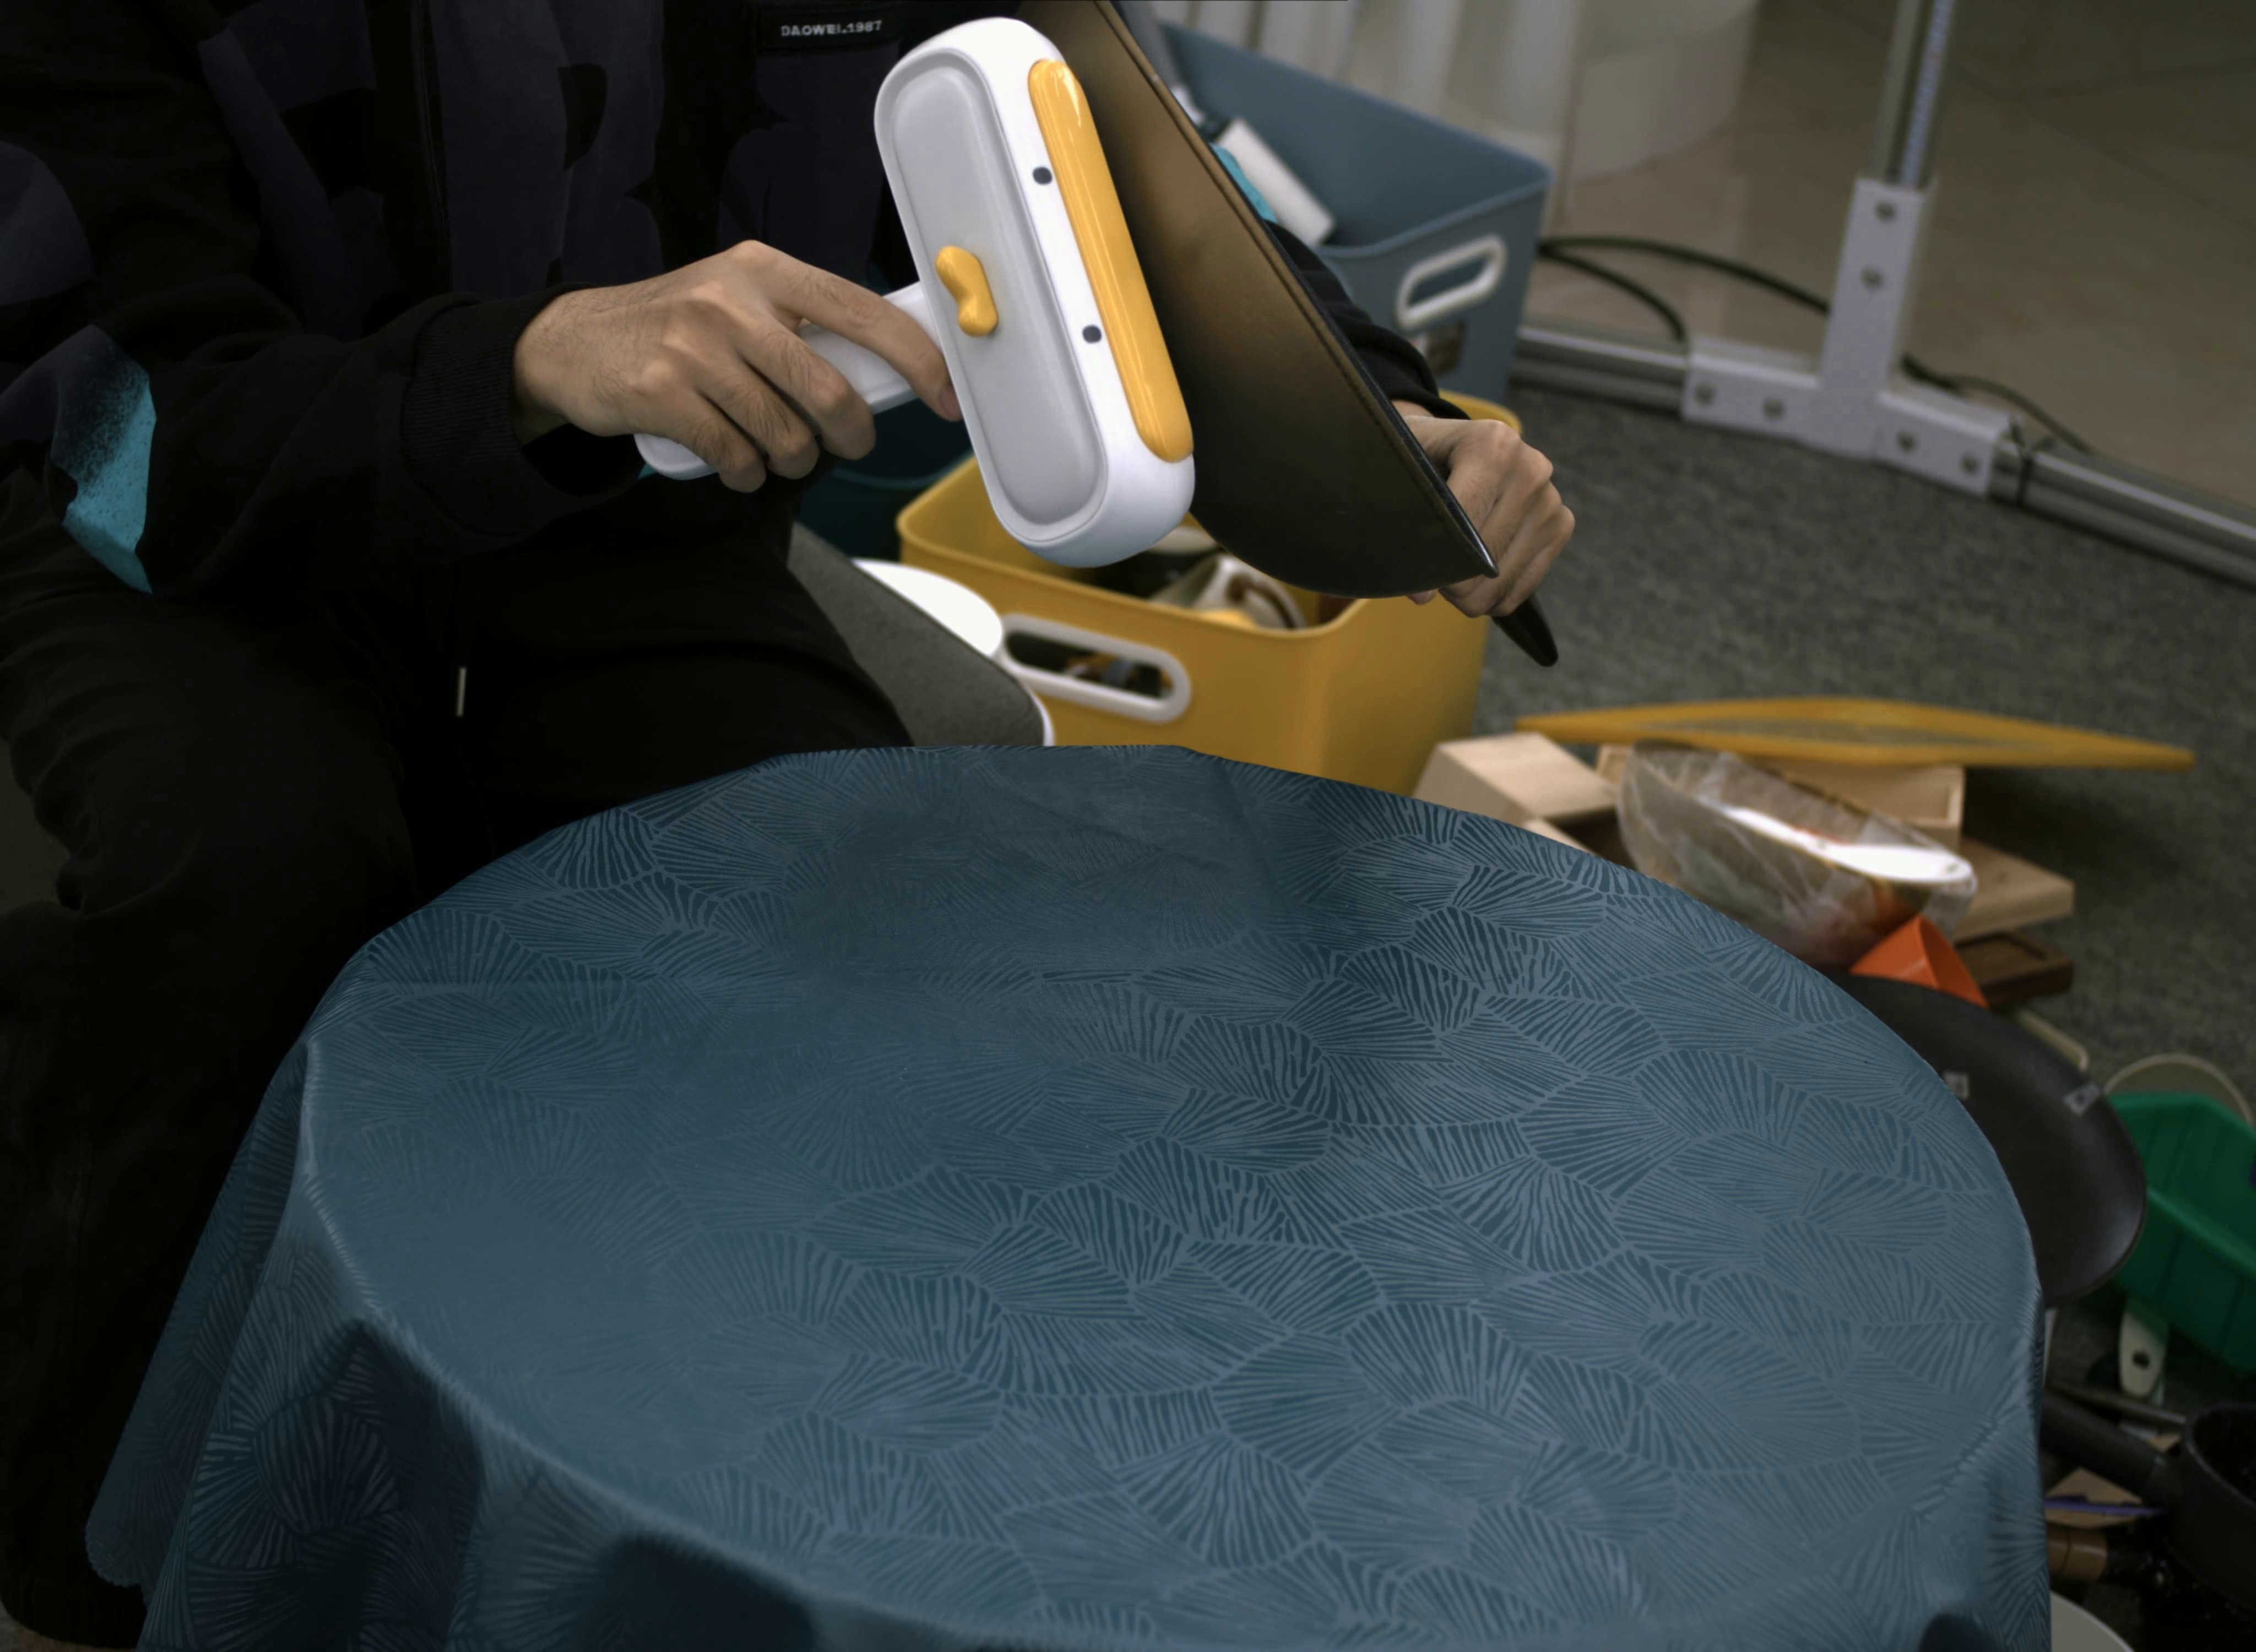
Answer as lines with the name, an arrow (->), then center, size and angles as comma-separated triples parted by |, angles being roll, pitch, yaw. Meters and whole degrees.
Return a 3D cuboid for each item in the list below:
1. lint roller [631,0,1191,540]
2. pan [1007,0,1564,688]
lint roller -> -0.086, -0.169, 1.852 | 0.192, 0.193, 0.074 | -26, -6, 29
pan -> 0.058, -0.150, 2.029 | 0.087, 0.459, 0.291 | -35, 56, 5
